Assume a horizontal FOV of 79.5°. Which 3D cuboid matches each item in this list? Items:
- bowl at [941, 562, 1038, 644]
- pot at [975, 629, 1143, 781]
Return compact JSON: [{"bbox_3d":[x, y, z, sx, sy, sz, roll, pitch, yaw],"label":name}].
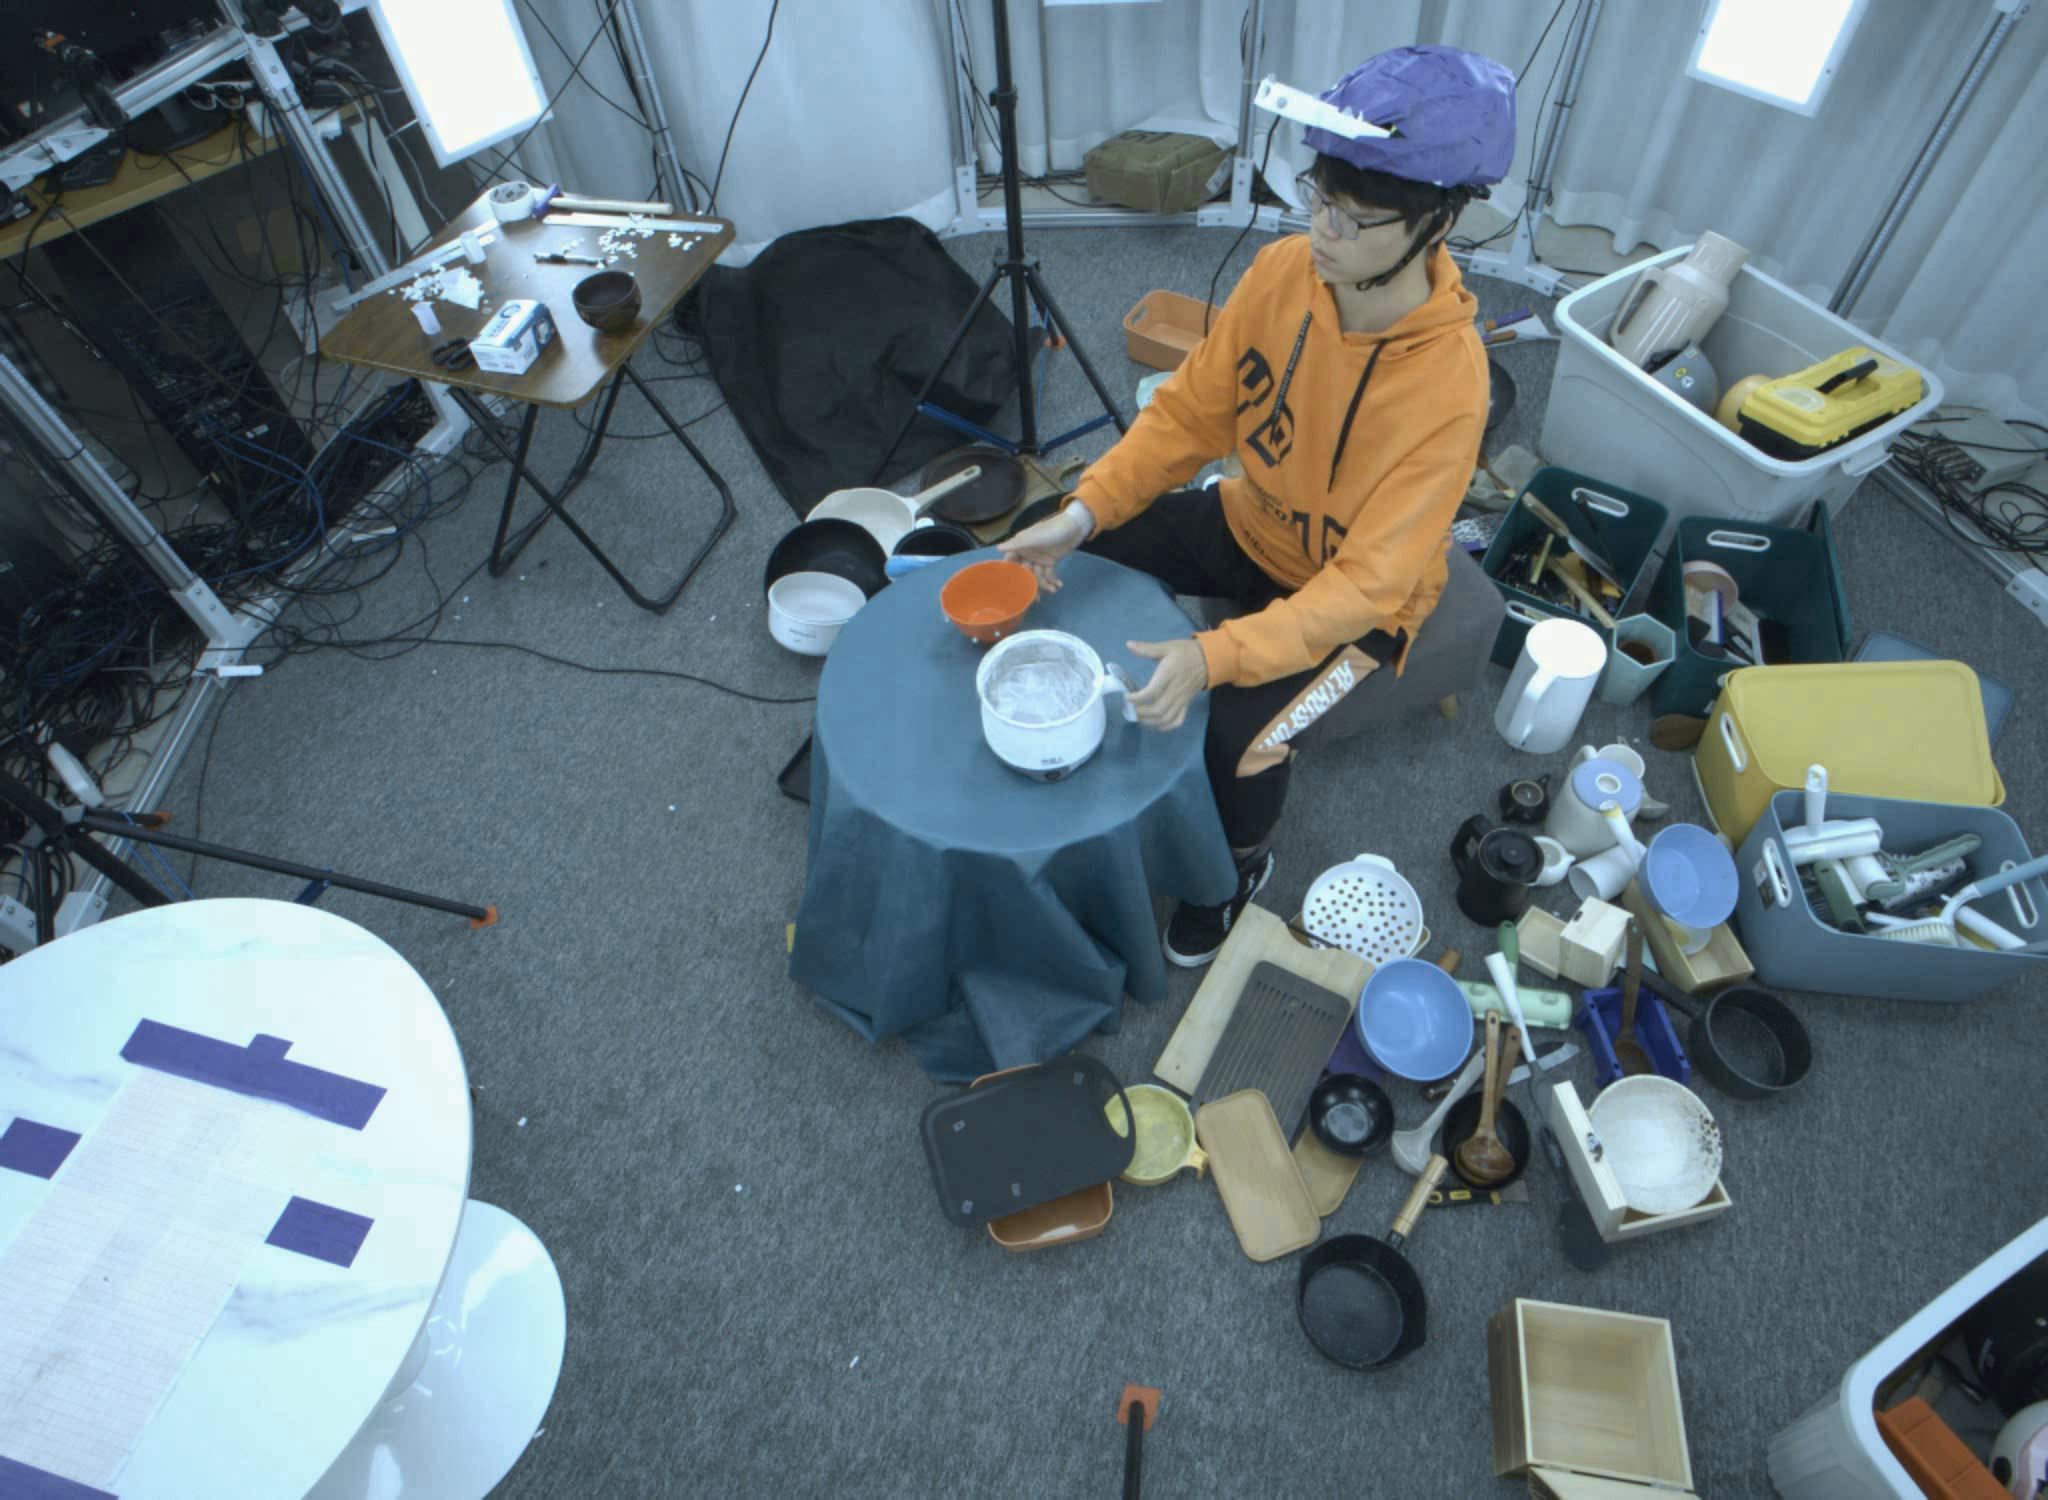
[{"bbox_3d":[-0.054,-0.212,1.888,0.148,0.105,0.146,2,57,-2],"label":"bowl"},{"bbox_3d":[0.053,-0.067,1.748,0.234,0.138,0.176,-9,55,-3],"label":"pot"}]
